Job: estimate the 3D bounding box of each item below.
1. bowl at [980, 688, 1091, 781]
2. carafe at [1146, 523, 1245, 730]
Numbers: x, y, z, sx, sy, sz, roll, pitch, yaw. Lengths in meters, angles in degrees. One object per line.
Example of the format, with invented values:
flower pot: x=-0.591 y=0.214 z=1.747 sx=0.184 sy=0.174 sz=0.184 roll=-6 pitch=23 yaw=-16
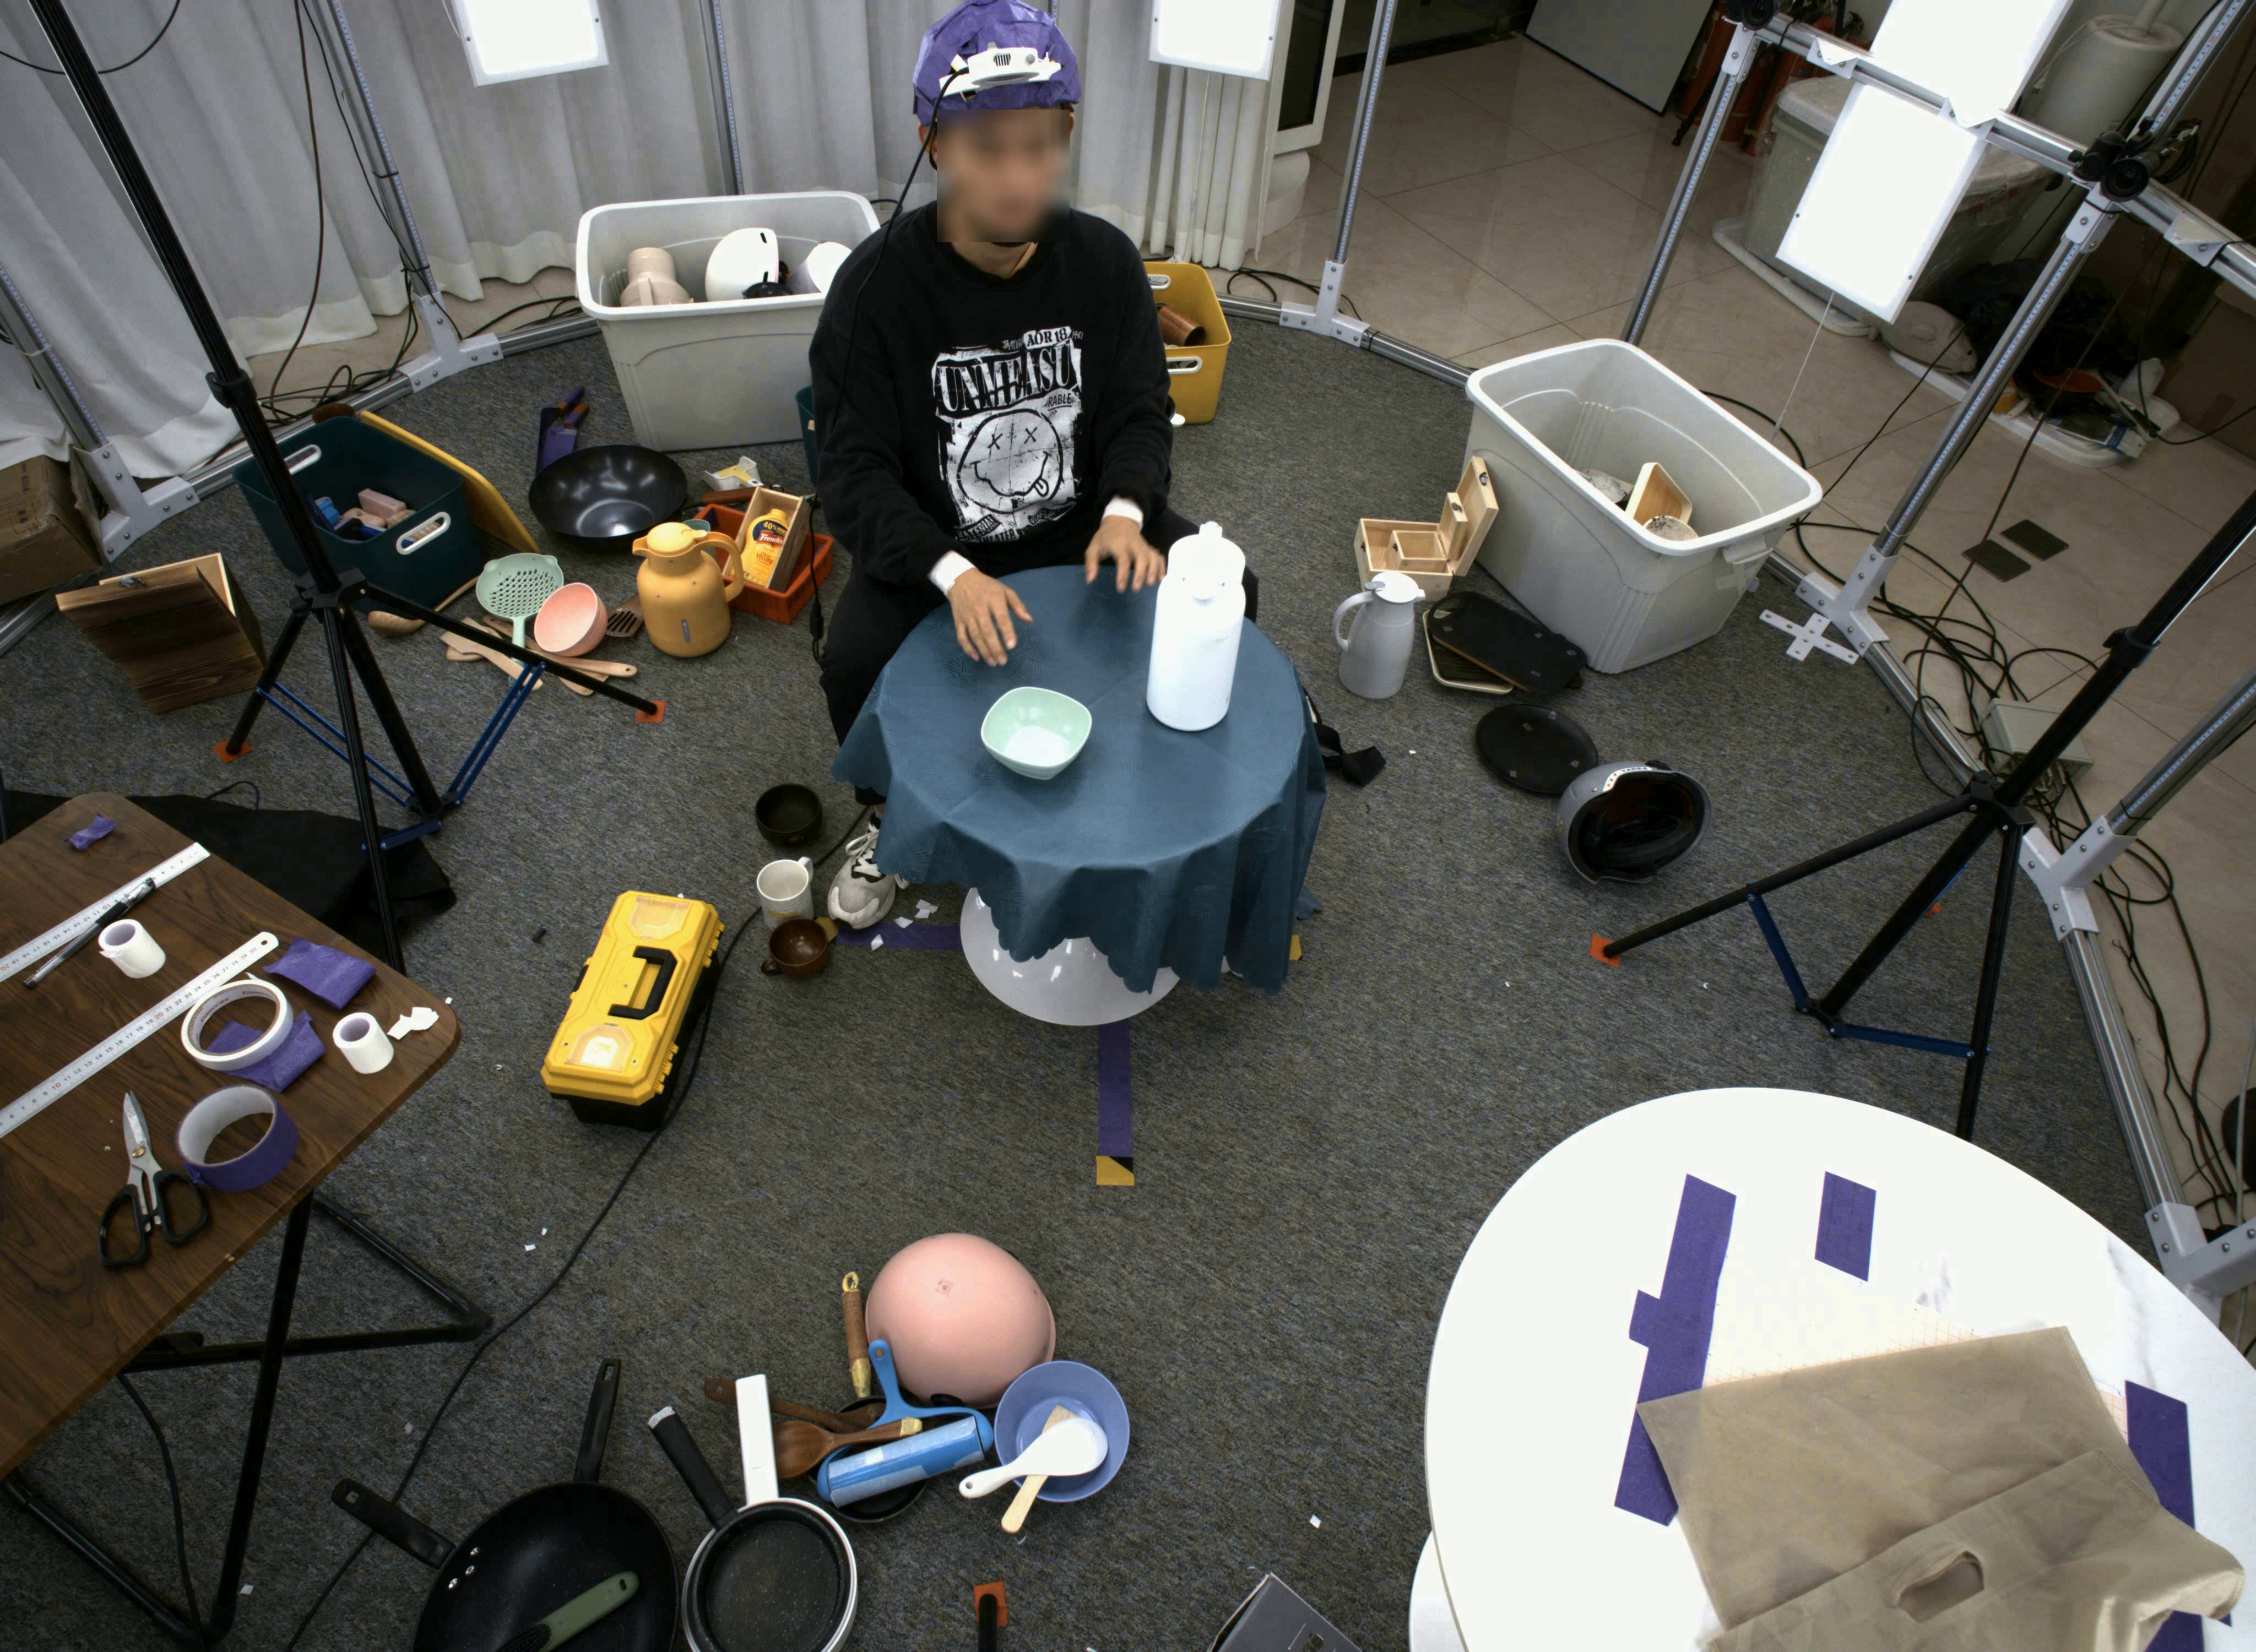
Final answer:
bowl: x=-0.124 y=-0.115 z=1.727 sx=0.151 sy=0.057 sz=0.155 roll=2 pitch=49 yaw=-2
carafe: x=0.092 y=-0.271 z=1.738 sx=0.124 sy=0.262 sz=0.177 roll=5 pitch=49 yaw=3
